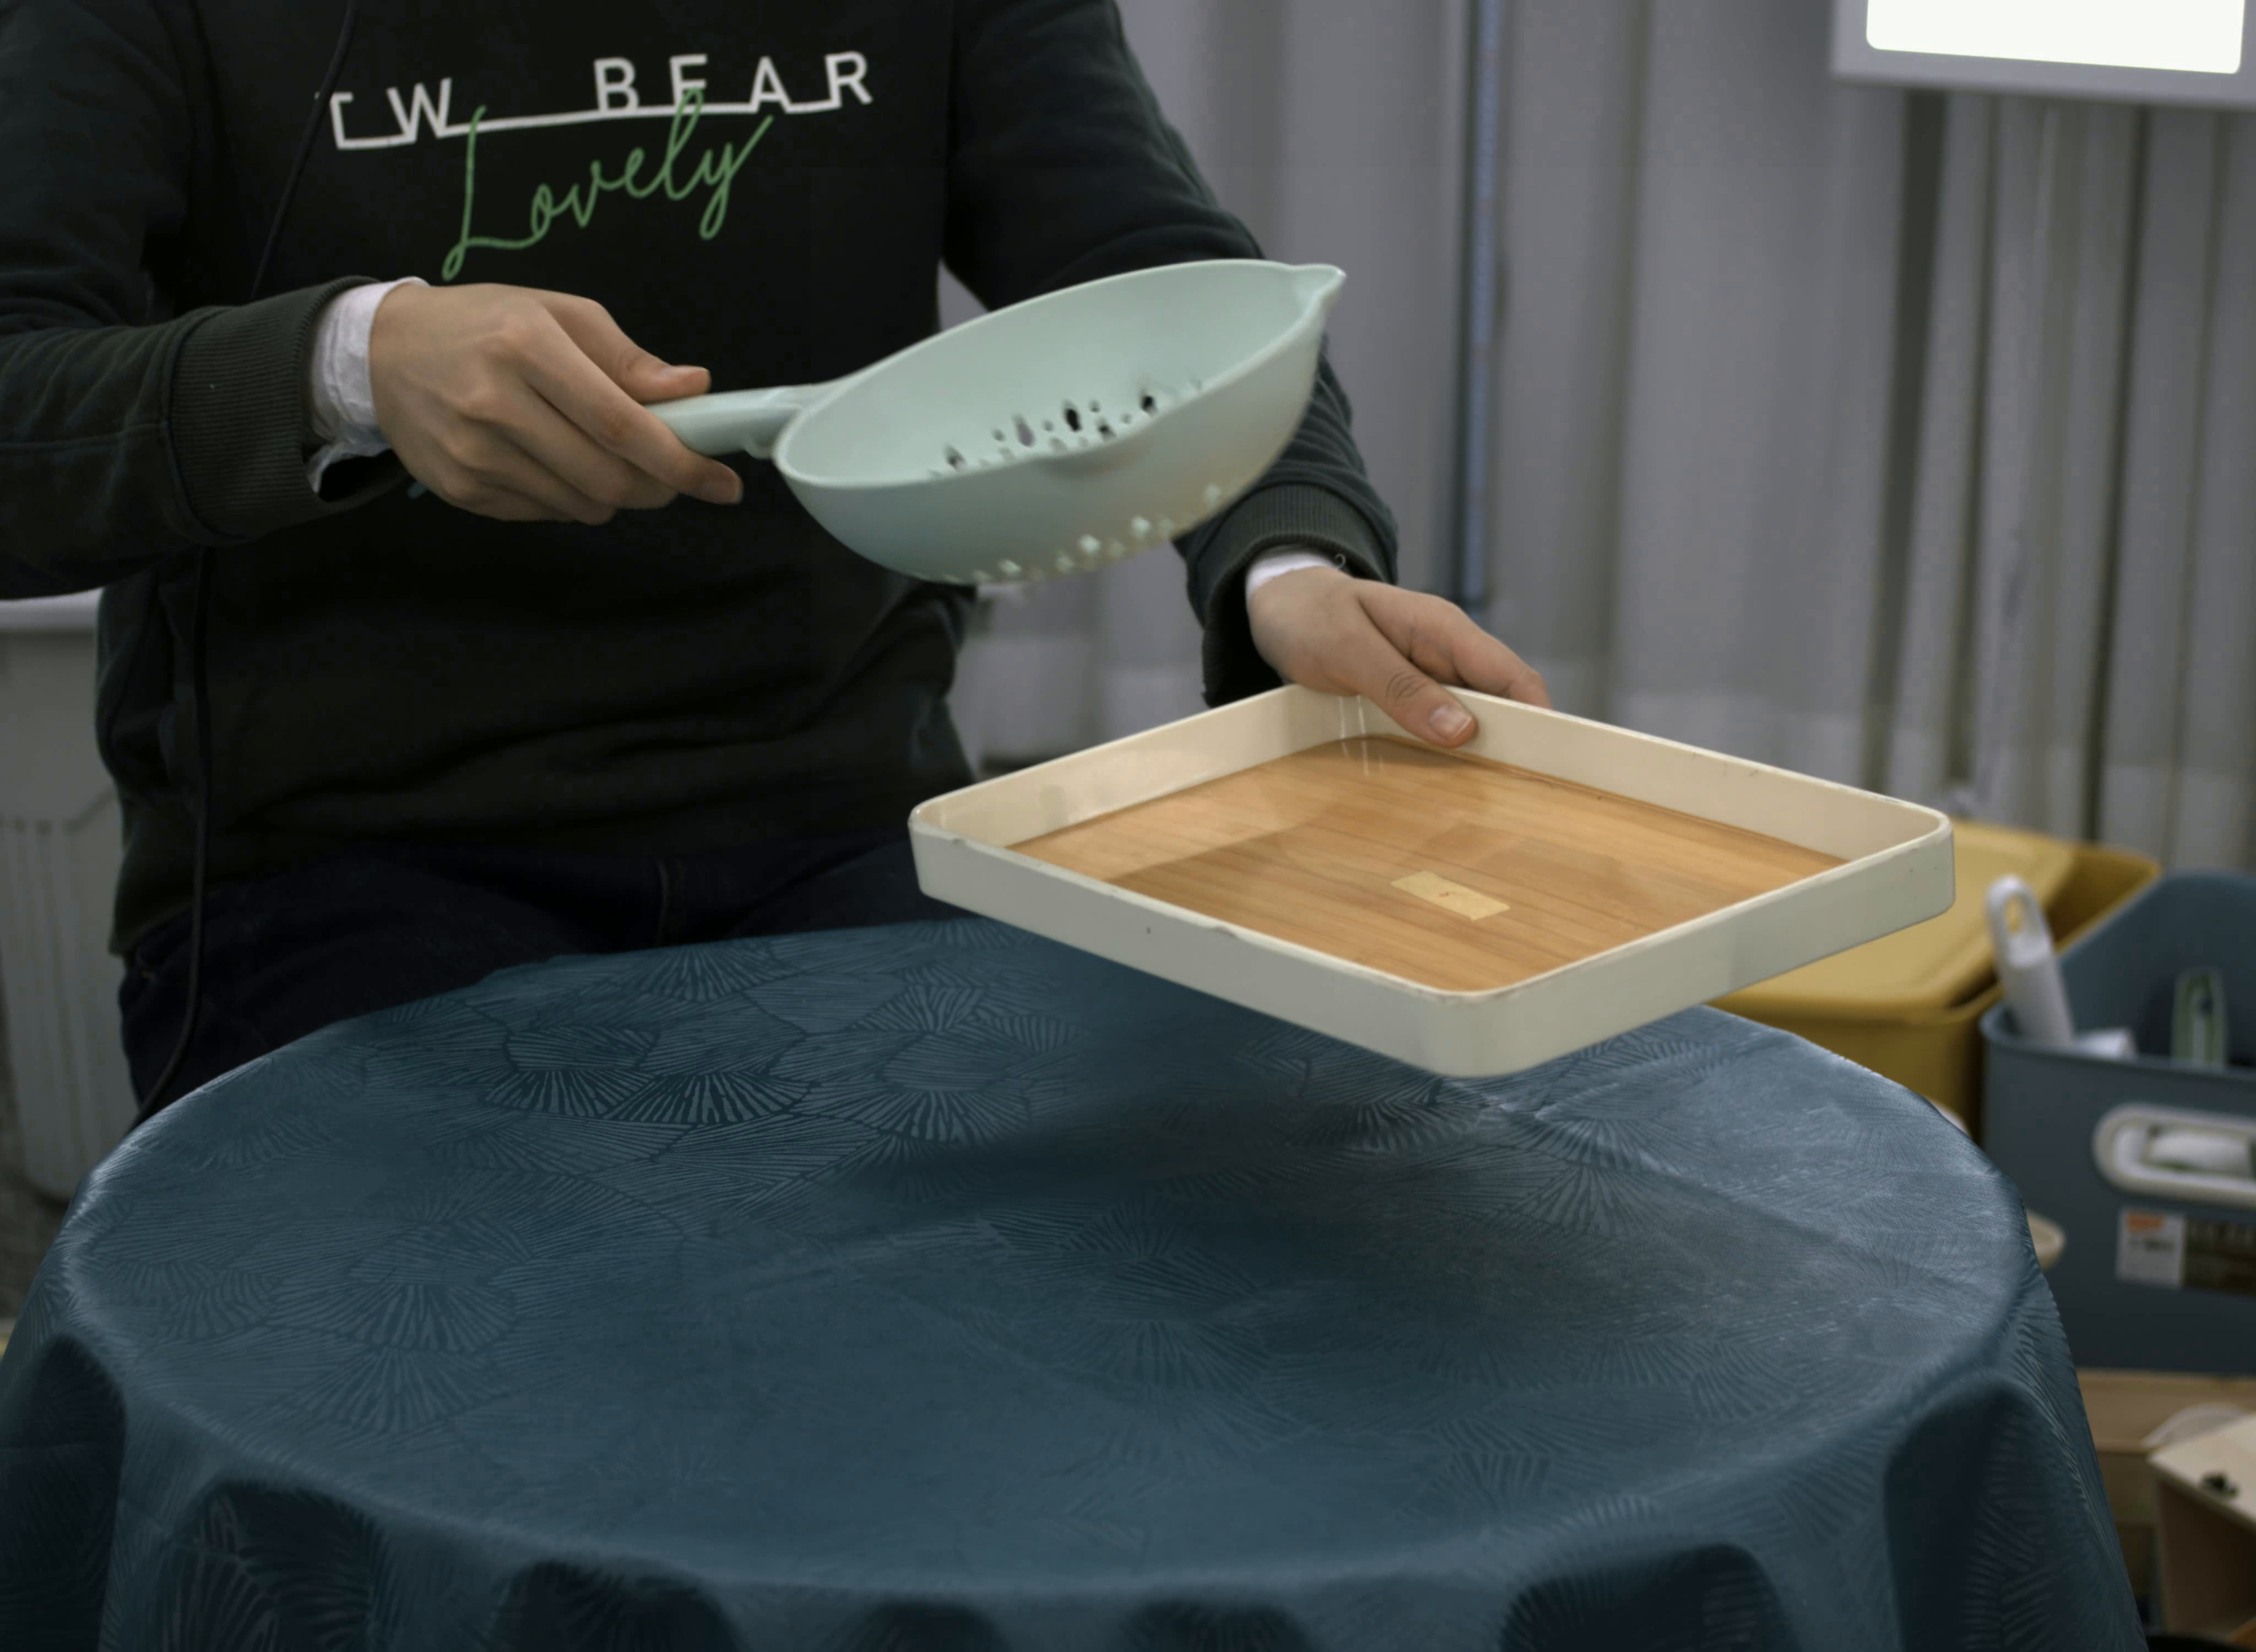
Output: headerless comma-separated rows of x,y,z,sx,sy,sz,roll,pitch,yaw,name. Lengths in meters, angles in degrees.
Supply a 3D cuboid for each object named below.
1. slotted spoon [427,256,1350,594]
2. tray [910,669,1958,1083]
-0.093,-0.120,1.627,0.354,0.076,0.169,7,31,35,slotted spoon
0.087,0.010,1.593,0.192,0.027,0.296,-18,21,-31,tray
